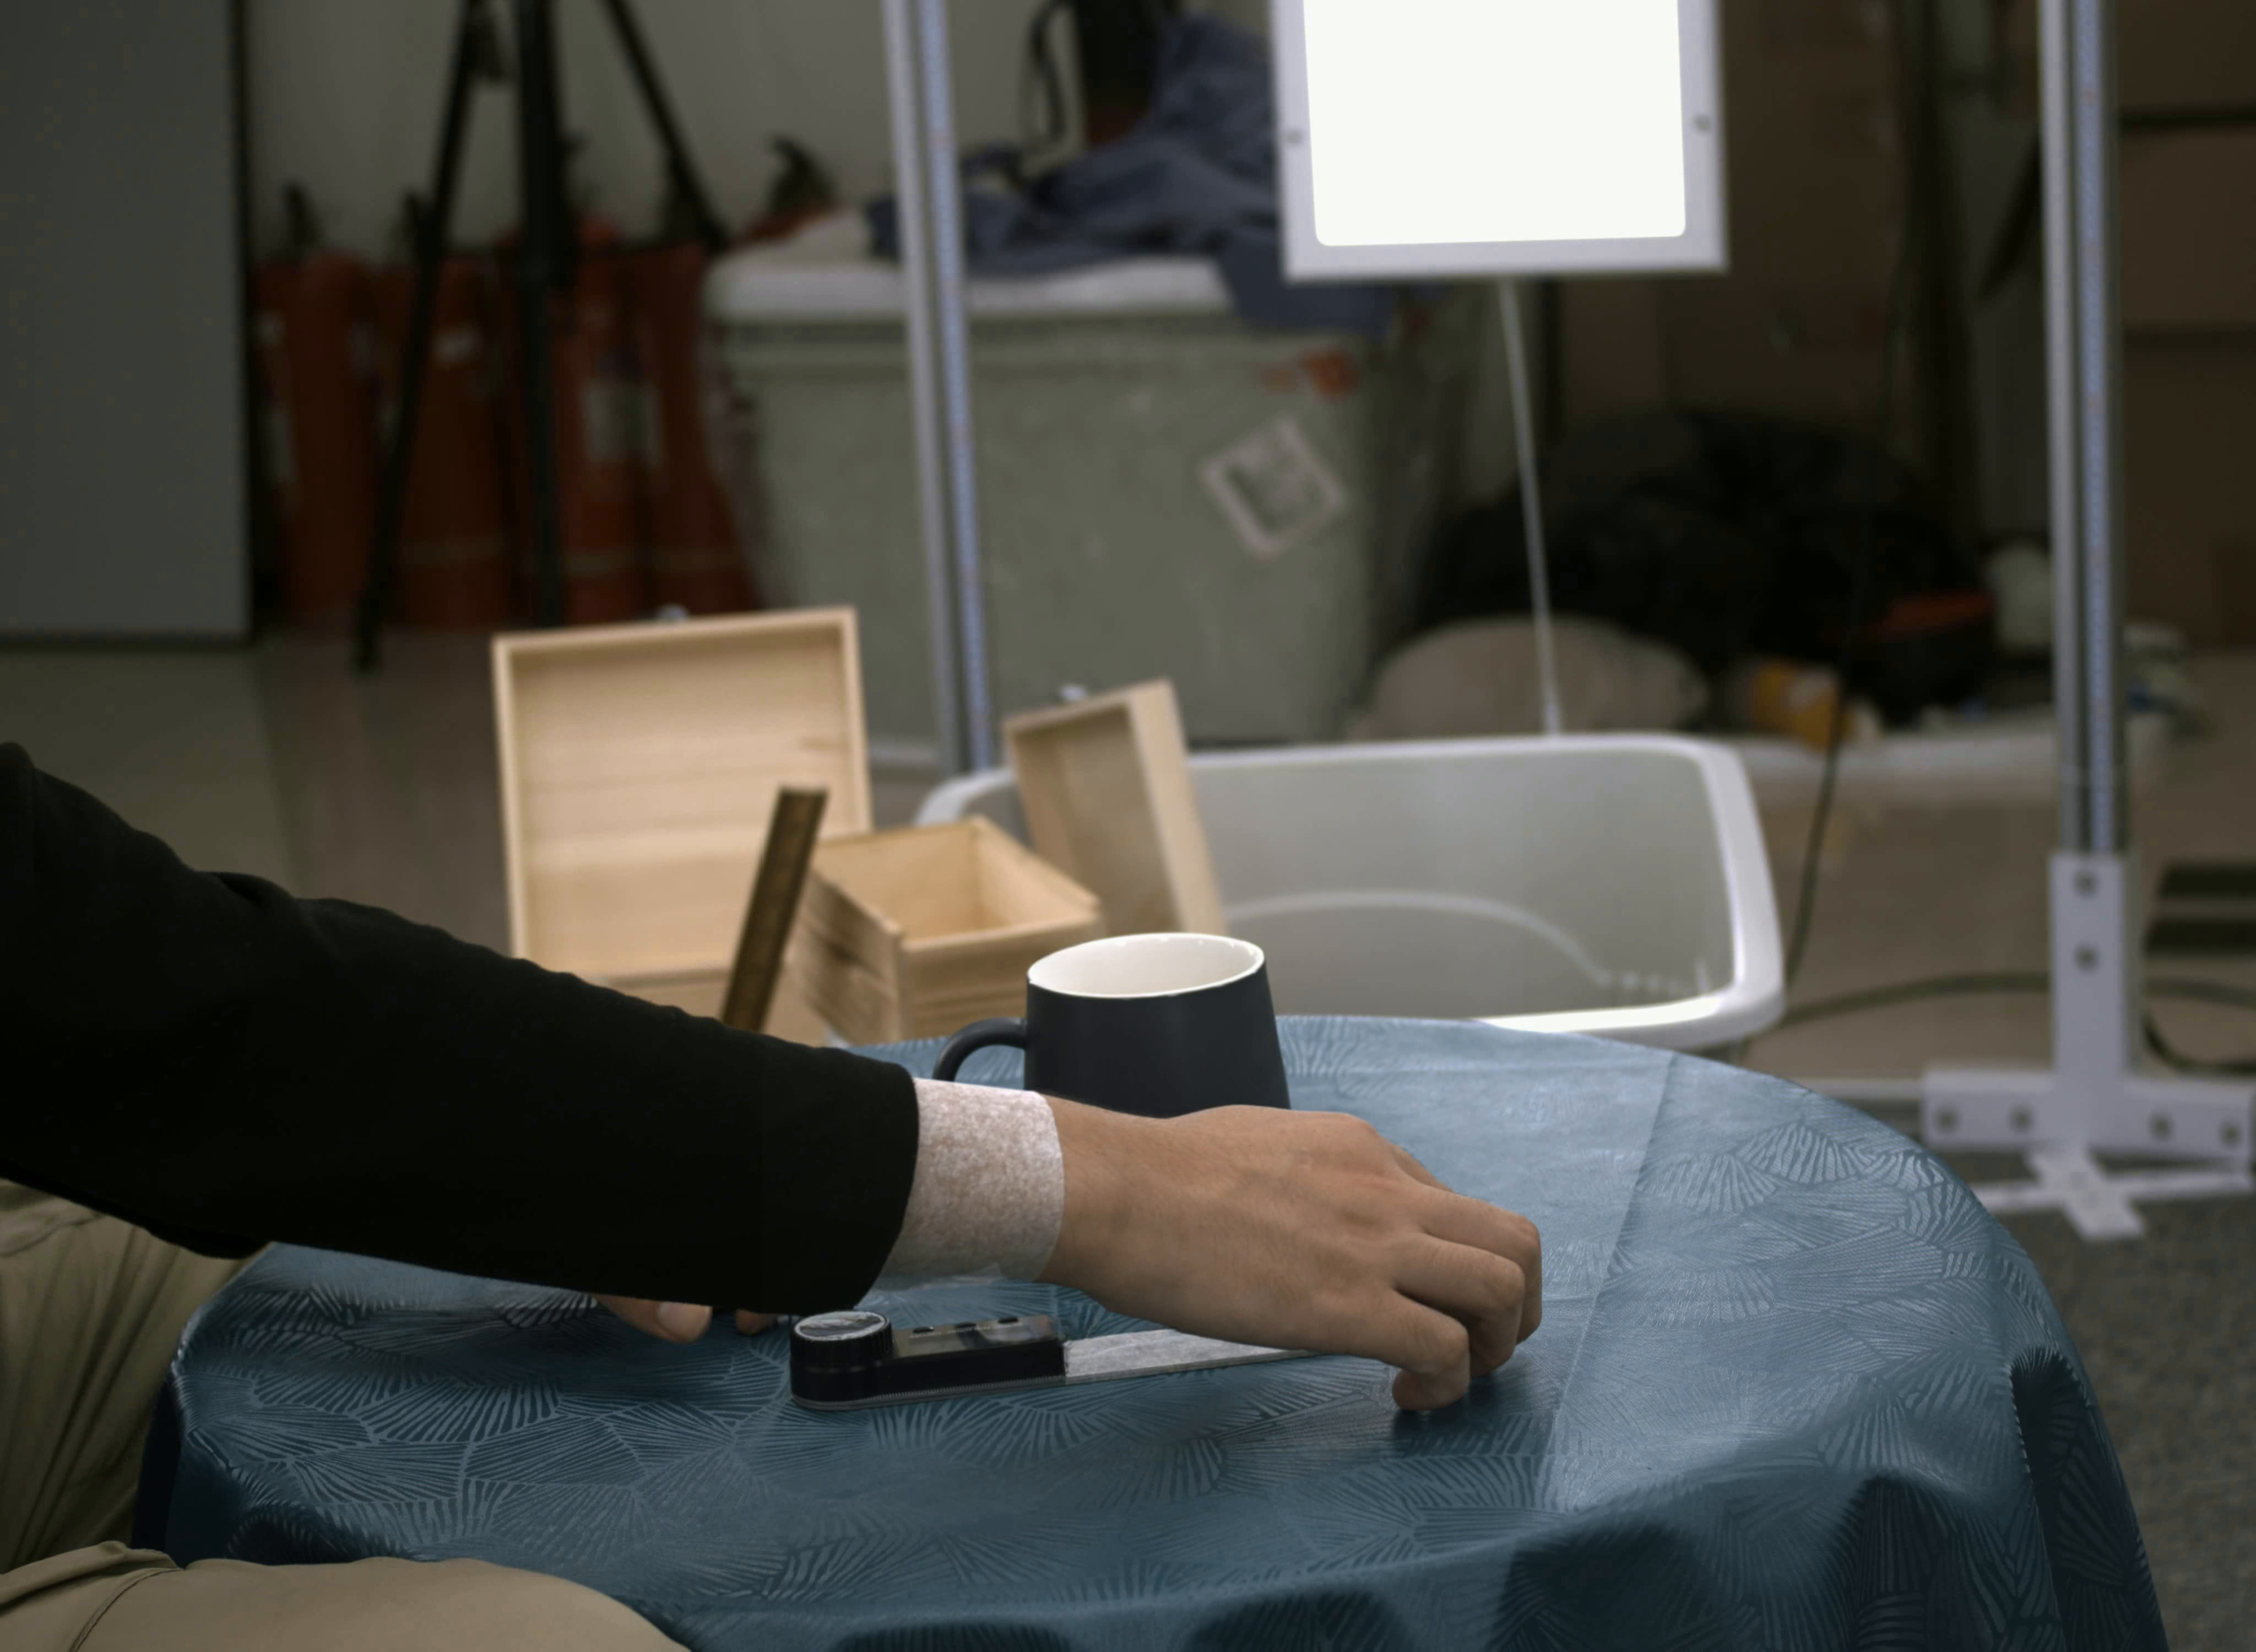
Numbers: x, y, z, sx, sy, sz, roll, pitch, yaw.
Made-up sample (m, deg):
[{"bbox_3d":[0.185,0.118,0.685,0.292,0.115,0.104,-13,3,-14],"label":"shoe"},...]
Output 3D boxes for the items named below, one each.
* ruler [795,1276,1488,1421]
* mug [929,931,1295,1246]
[{"bbox_3d":[0.004,0.156,1.727,0.217,0.024,0.038,-7,23,-4],"label":"ruler"},{"bbox_3d":[-0.006,0.089,1.856,0.123,0.090,0.093,-4,13,0],"label":"mug"}]
